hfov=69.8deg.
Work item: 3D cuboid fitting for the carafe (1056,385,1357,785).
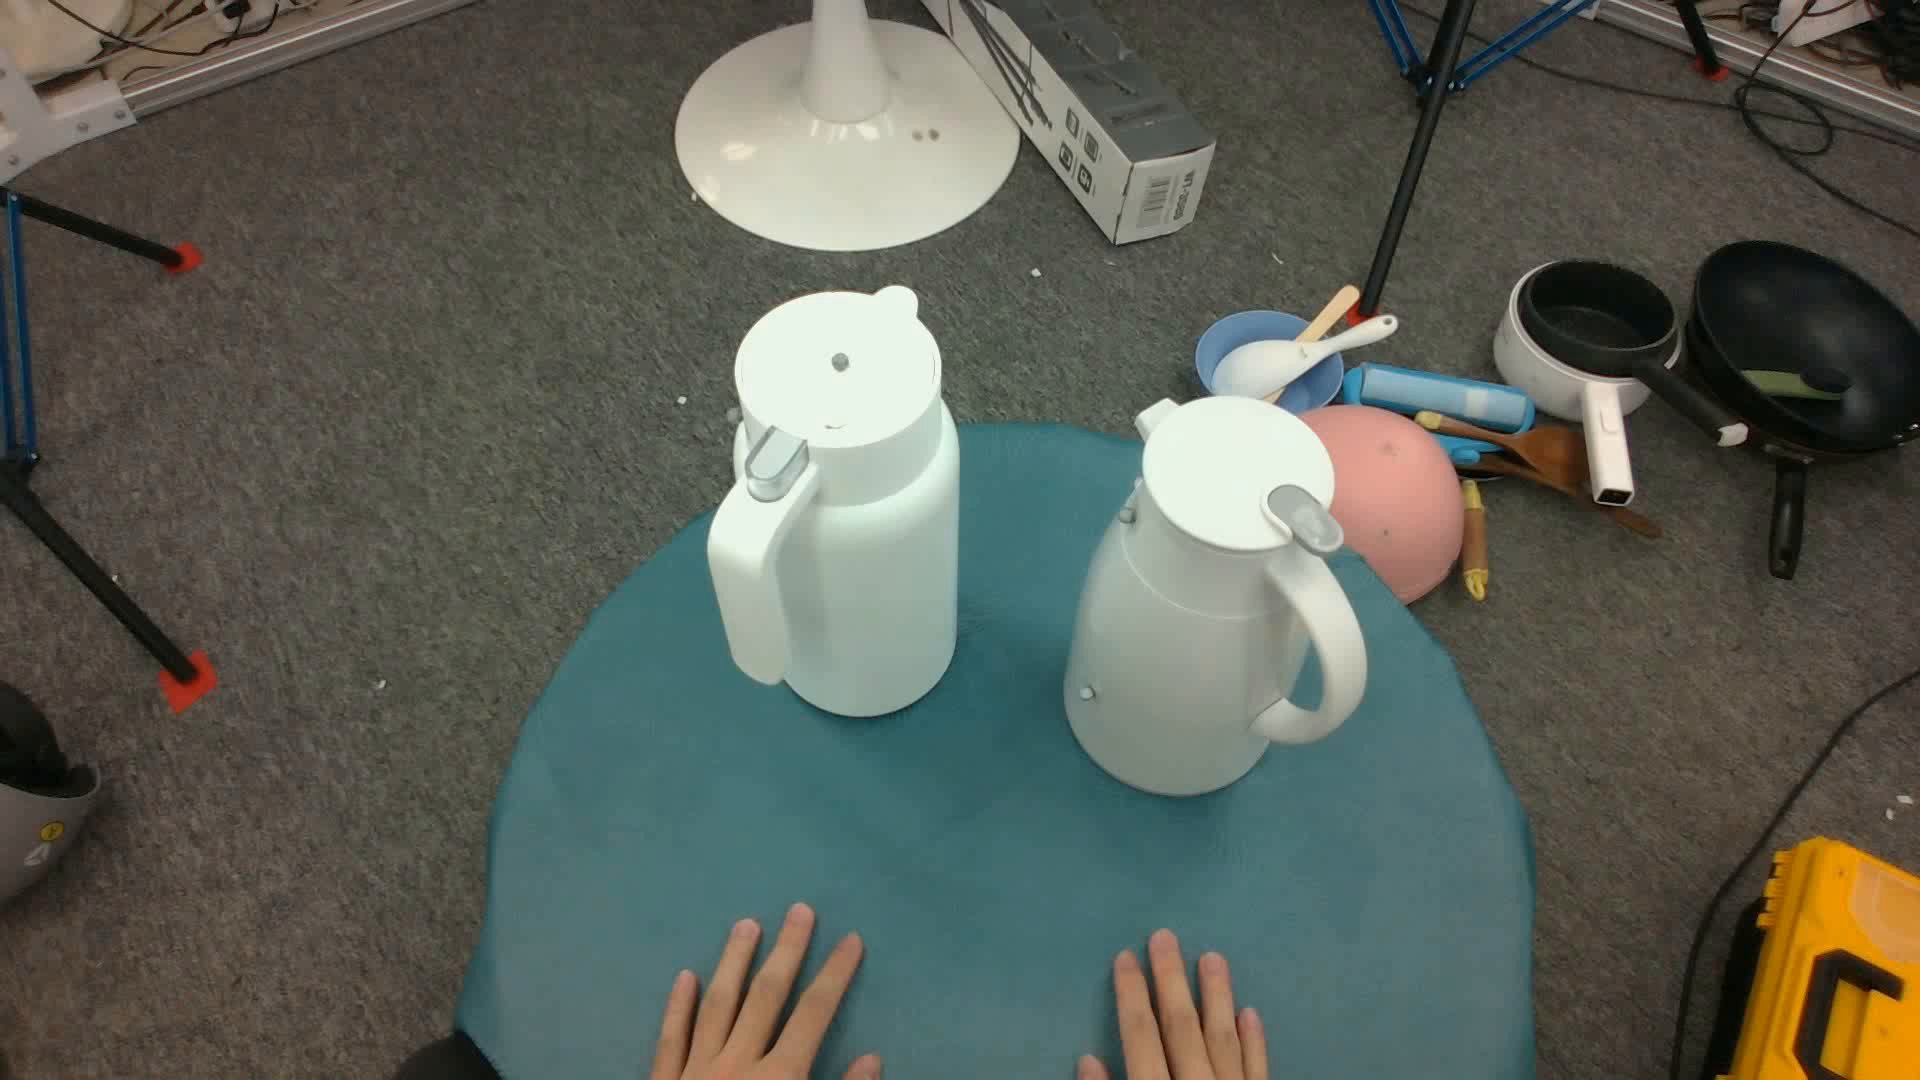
[{"bbox_3d":[0.139,0.037,0.744,0.133,0.247,0.168,-32,63,-20],"label":"carafe"}]

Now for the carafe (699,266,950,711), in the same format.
[{"bbox_3d":[-0.071,-0.001,0.752,0.124,0.267,0.173,23,59,11],"label":"carafe"}]
